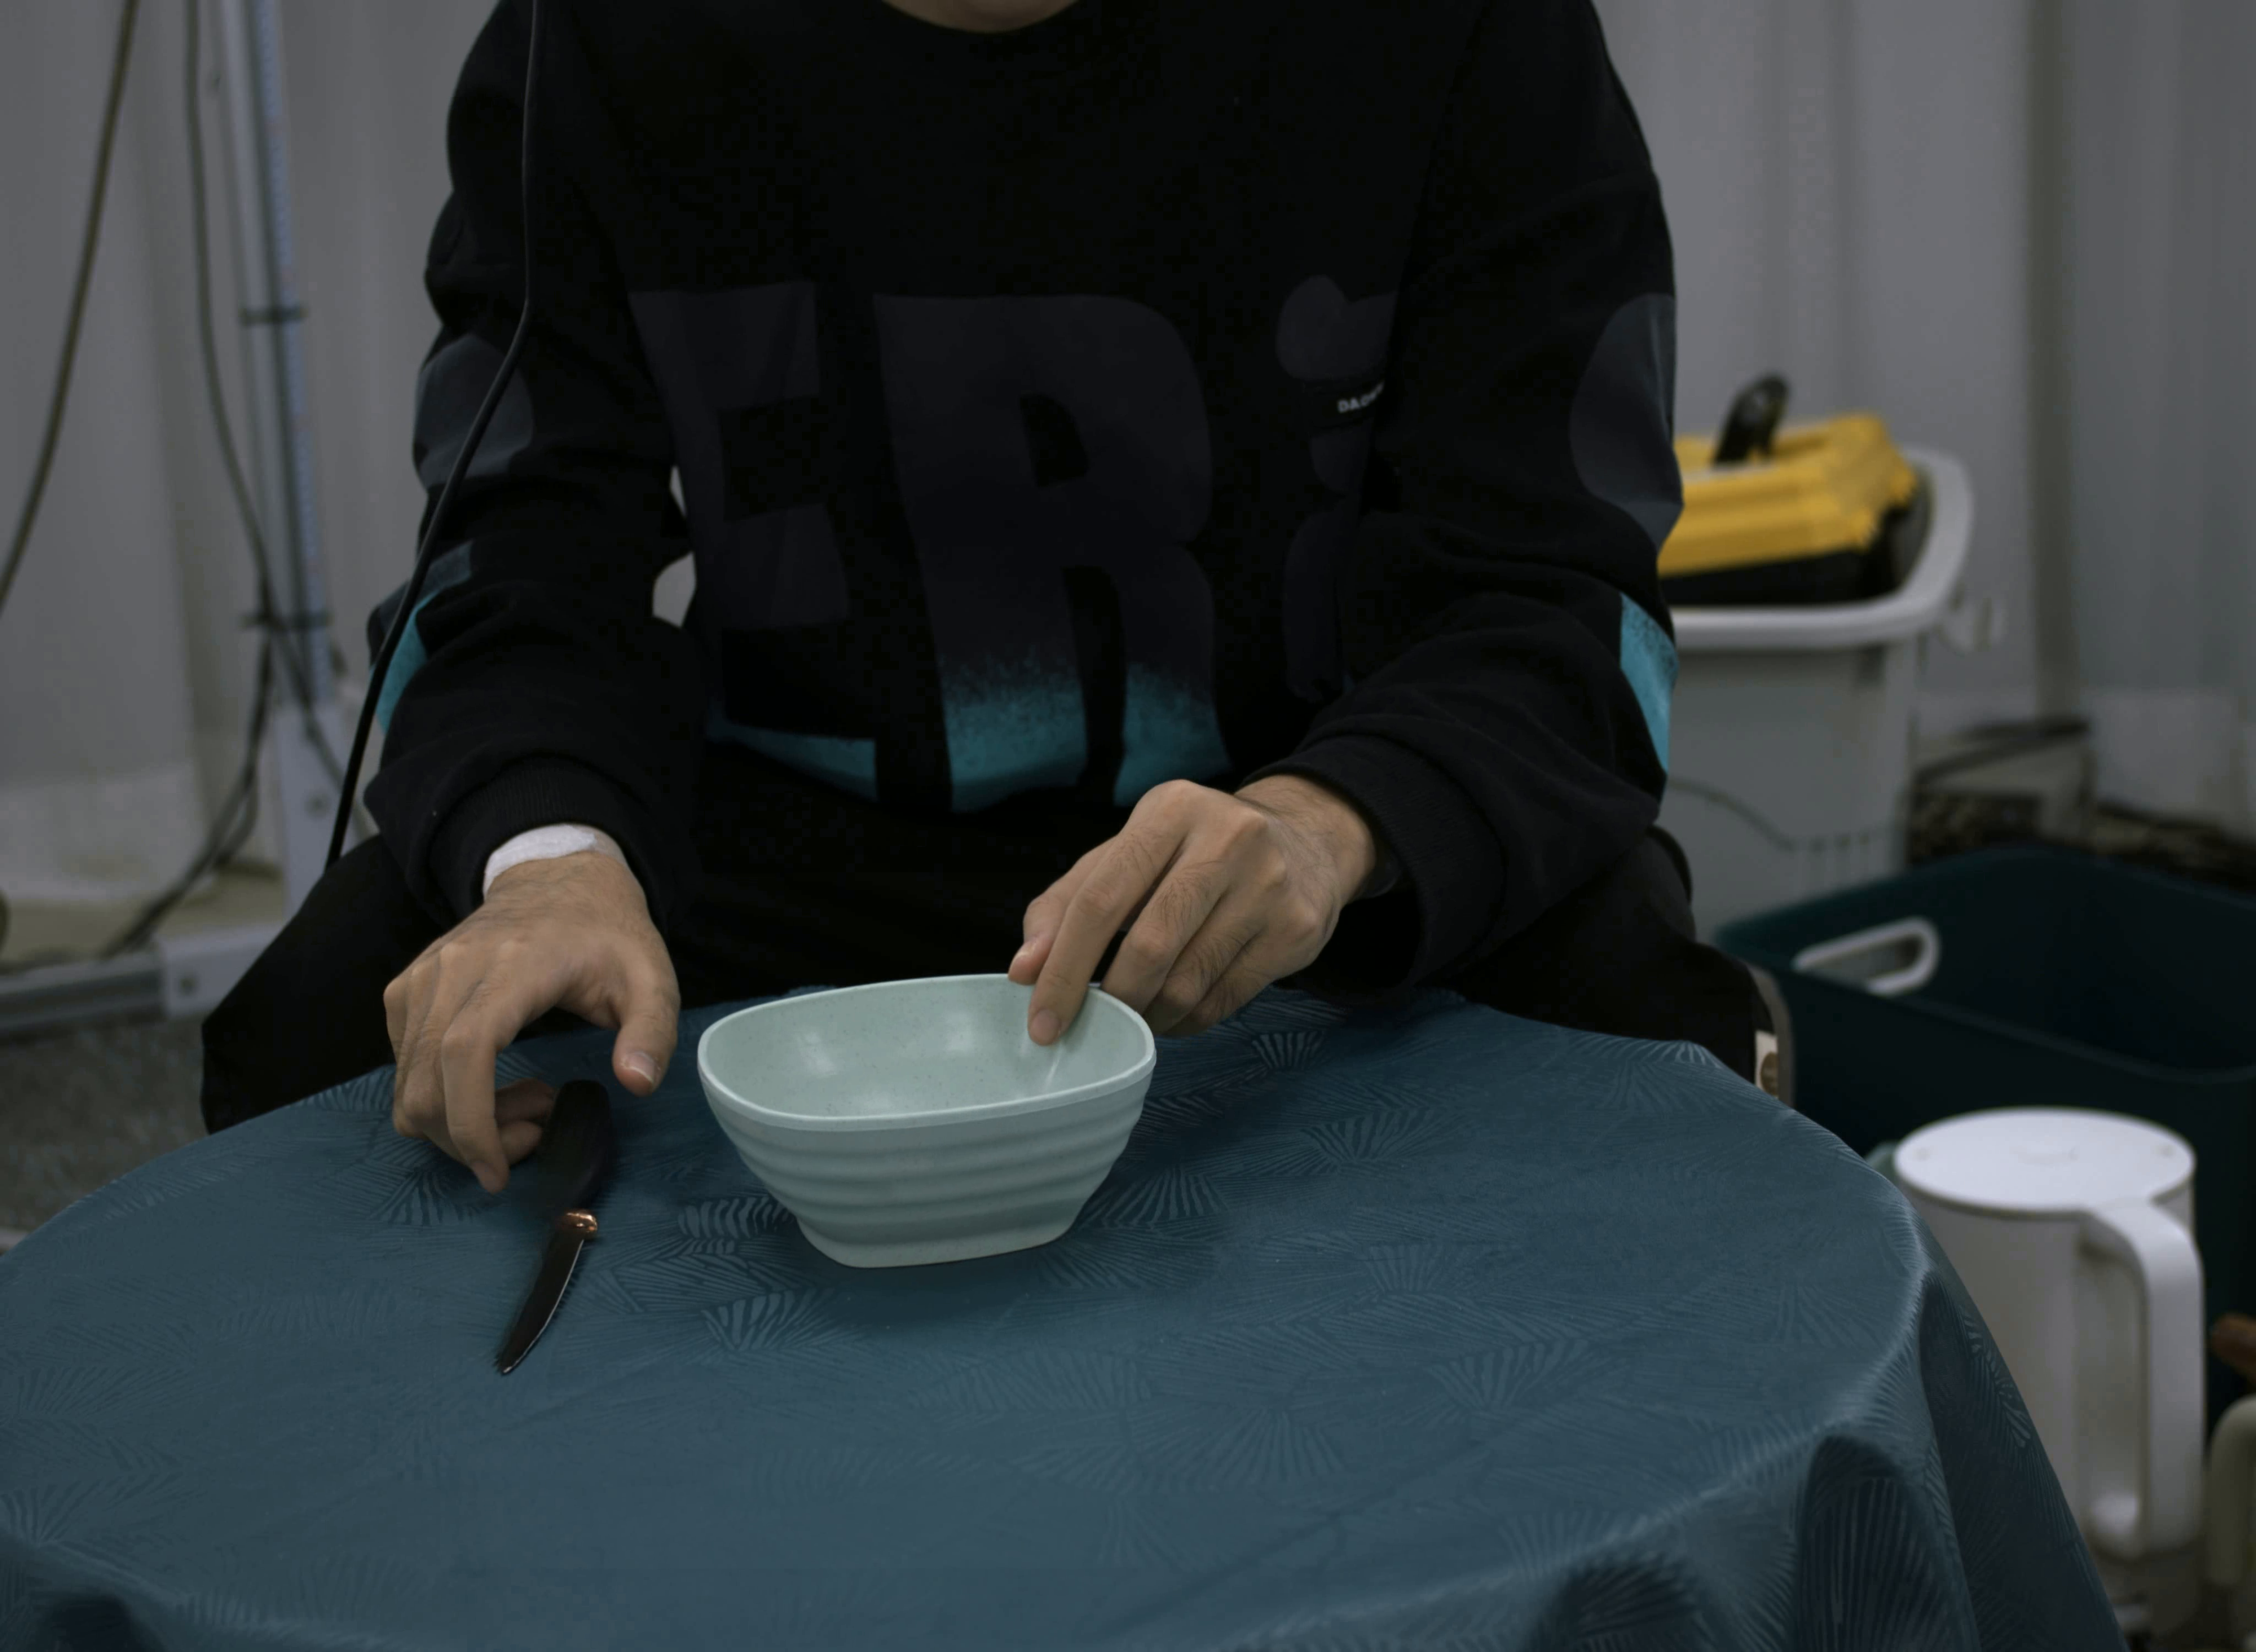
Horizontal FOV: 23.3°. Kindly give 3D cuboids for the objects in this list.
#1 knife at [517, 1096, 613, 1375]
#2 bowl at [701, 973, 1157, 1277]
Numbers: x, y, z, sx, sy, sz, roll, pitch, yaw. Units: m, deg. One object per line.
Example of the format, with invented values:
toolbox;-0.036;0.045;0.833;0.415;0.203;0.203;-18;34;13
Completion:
knife;-0.176;0.126;1.689;0.026;0.017;0.227;3;16;-2
bowl;-0.060;0.096;1.692;0.151;0.058;0.152;-4;16;1
